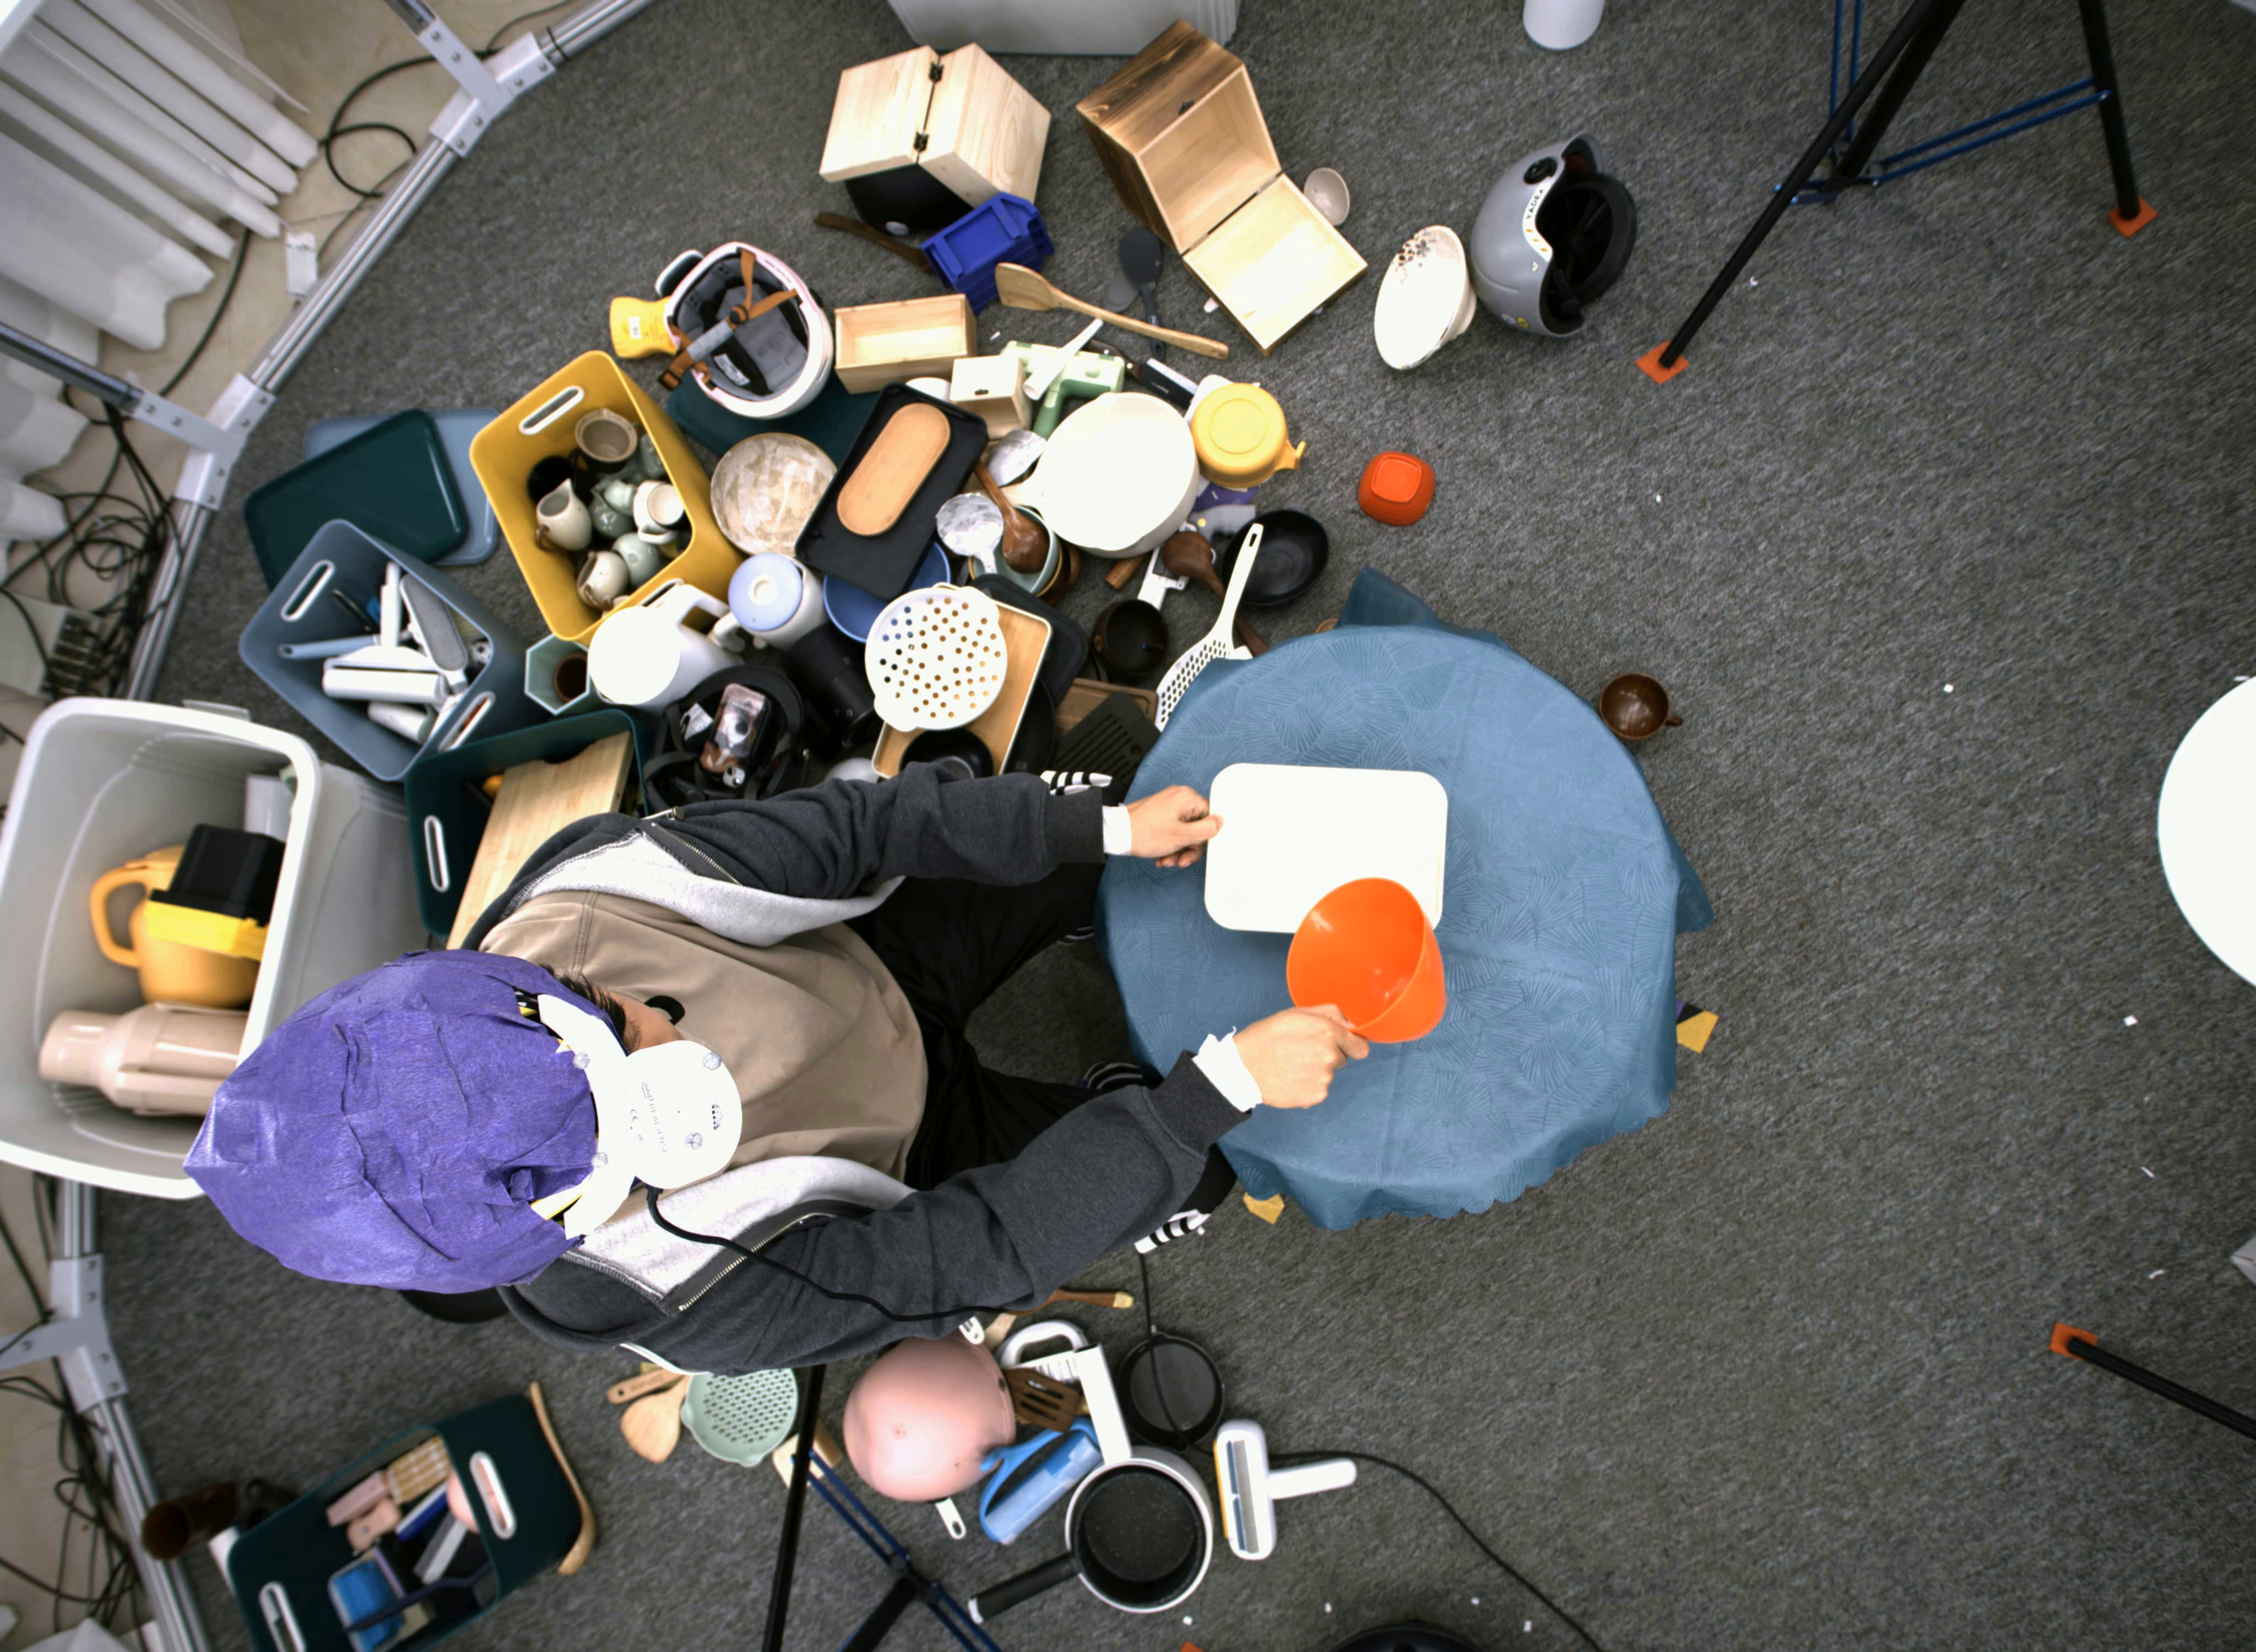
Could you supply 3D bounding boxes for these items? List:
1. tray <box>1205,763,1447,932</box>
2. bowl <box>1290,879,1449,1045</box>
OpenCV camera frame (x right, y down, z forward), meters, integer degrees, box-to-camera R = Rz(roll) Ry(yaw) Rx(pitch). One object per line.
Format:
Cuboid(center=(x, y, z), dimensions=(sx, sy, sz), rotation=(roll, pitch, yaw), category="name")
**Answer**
Cuboid(center=(0.199, 0.023, 1.401), dimensions=(0.240, 0.017, 0.171), rotation=(3, 91, 8), category="tray")
Cuboid(center=(0.233, 0.135, 1.260), dimensions=(0.105, 0.146, 0.148), rotation=(39, 93, -30), category="bowl")
